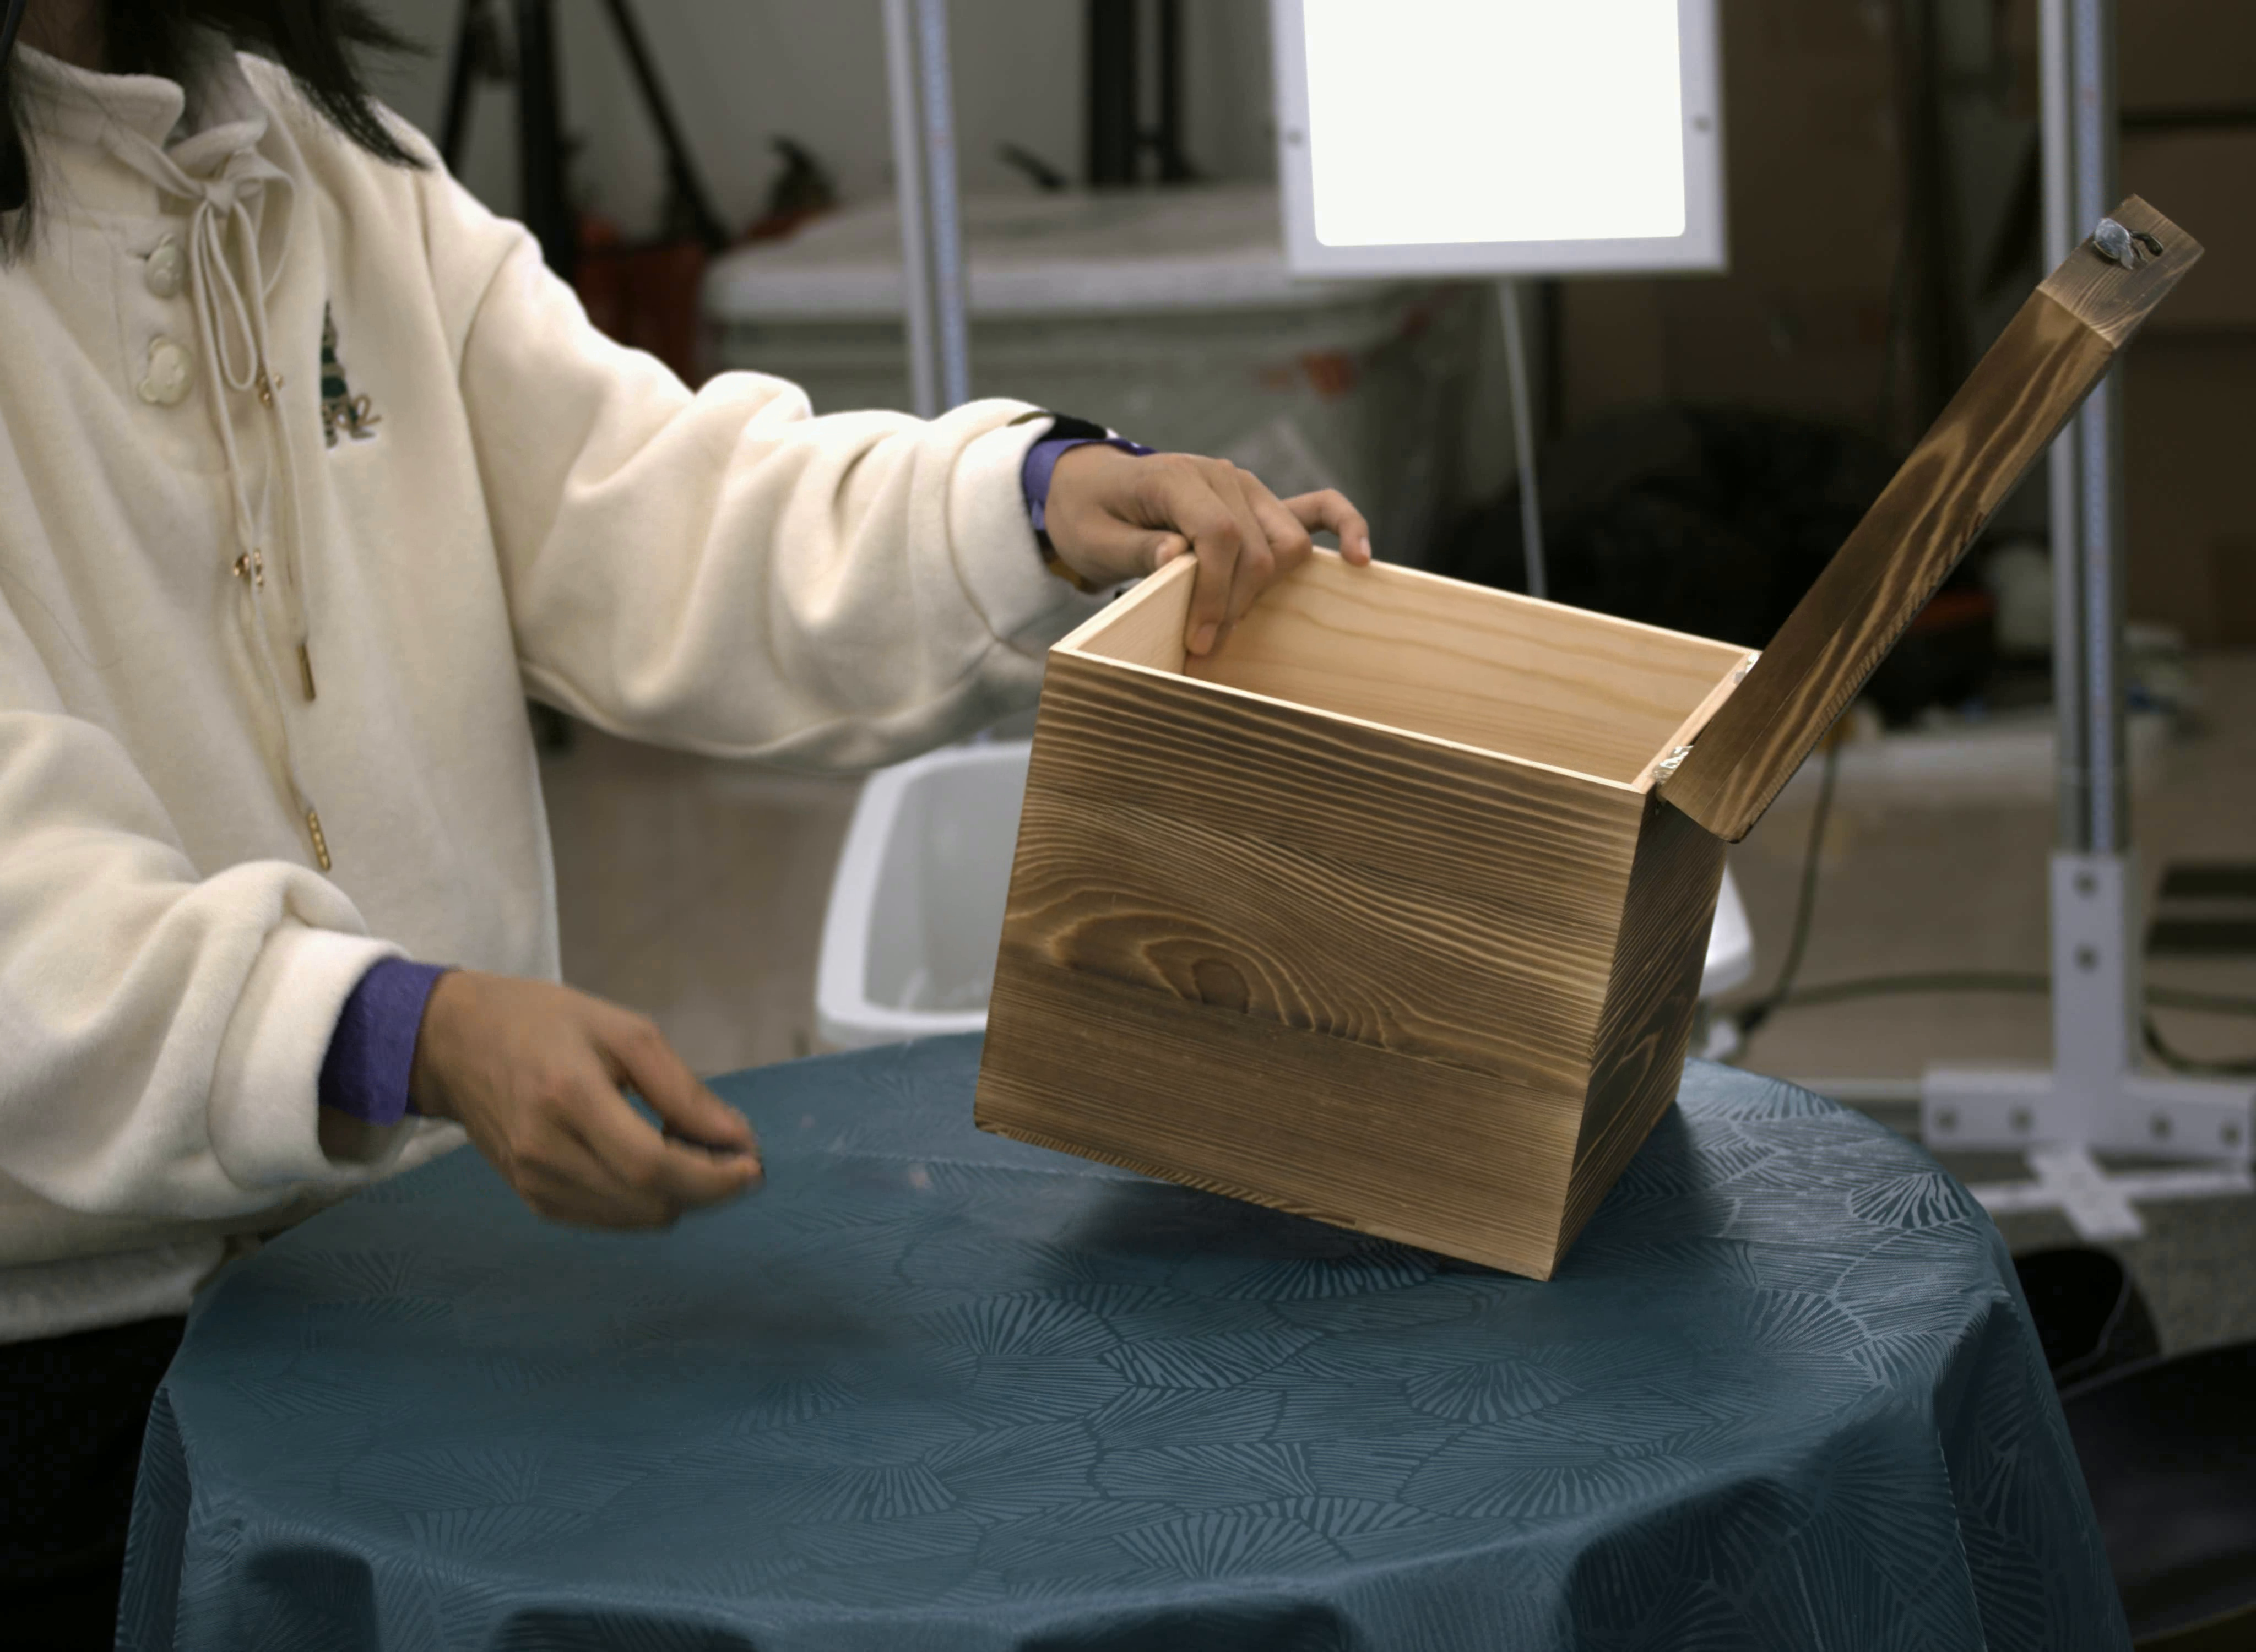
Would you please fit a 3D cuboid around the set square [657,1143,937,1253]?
[{"bbox_3d":[-0.108,0.115,1.743,0.060,0.006,0.134,10,5,-27],"label":"set square"}]

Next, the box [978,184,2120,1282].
[{"bbox_3d":[0.149,-0.058,1.816,0.325,0.378,0.205,15,19,15],"label":"box"}]
